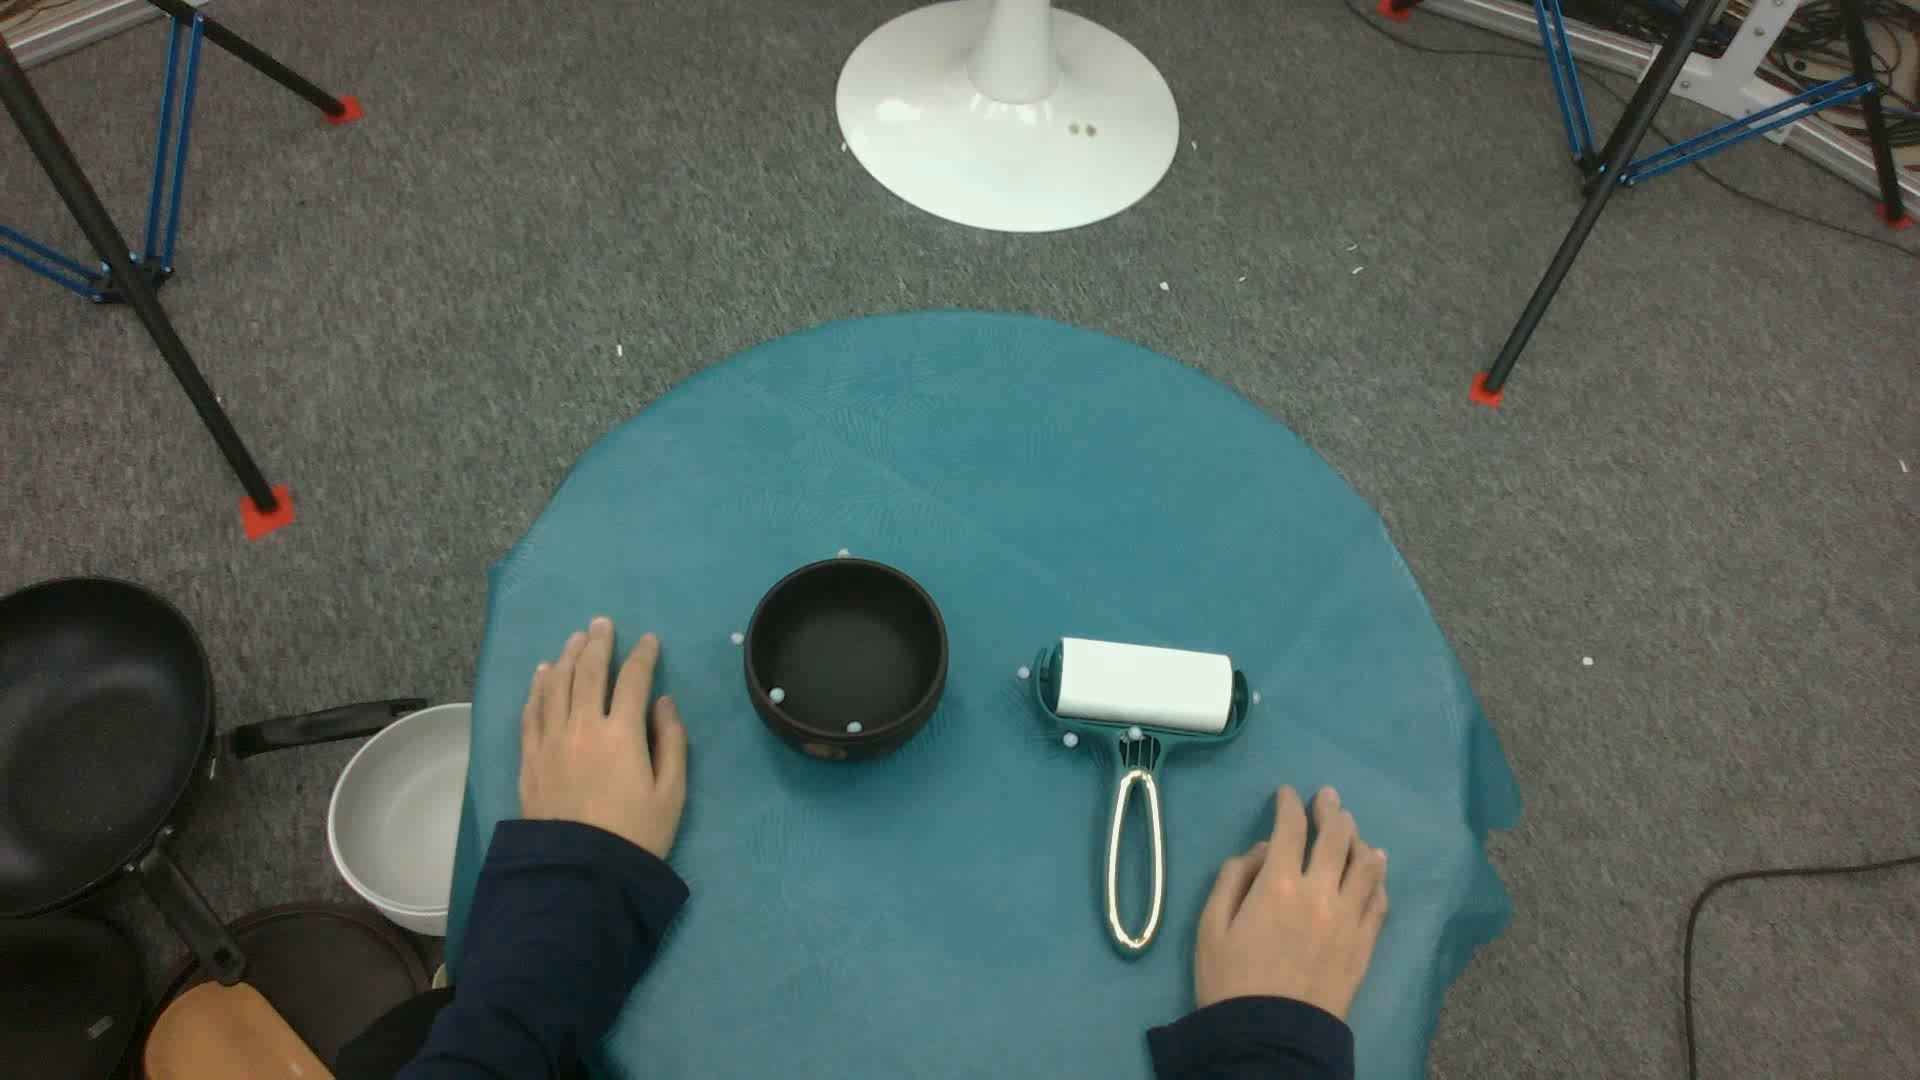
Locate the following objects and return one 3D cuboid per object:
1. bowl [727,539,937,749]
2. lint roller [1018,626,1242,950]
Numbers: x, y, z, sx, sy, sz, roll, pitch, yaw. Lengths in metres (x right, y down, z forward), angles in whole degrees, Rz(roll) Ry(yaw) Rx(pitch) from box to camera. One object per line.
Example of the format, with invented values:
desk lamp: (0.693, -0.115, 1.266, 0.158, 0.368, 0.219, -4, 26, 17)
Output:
bowl: (-0.074, 0.066, 0.792, 0.118, 0.069, 0.118, 4, 59, -6)
lint roller: (0.094, 0.137, 0.785, 0.134, 0.048, 0.181, 7, 59, -2)
